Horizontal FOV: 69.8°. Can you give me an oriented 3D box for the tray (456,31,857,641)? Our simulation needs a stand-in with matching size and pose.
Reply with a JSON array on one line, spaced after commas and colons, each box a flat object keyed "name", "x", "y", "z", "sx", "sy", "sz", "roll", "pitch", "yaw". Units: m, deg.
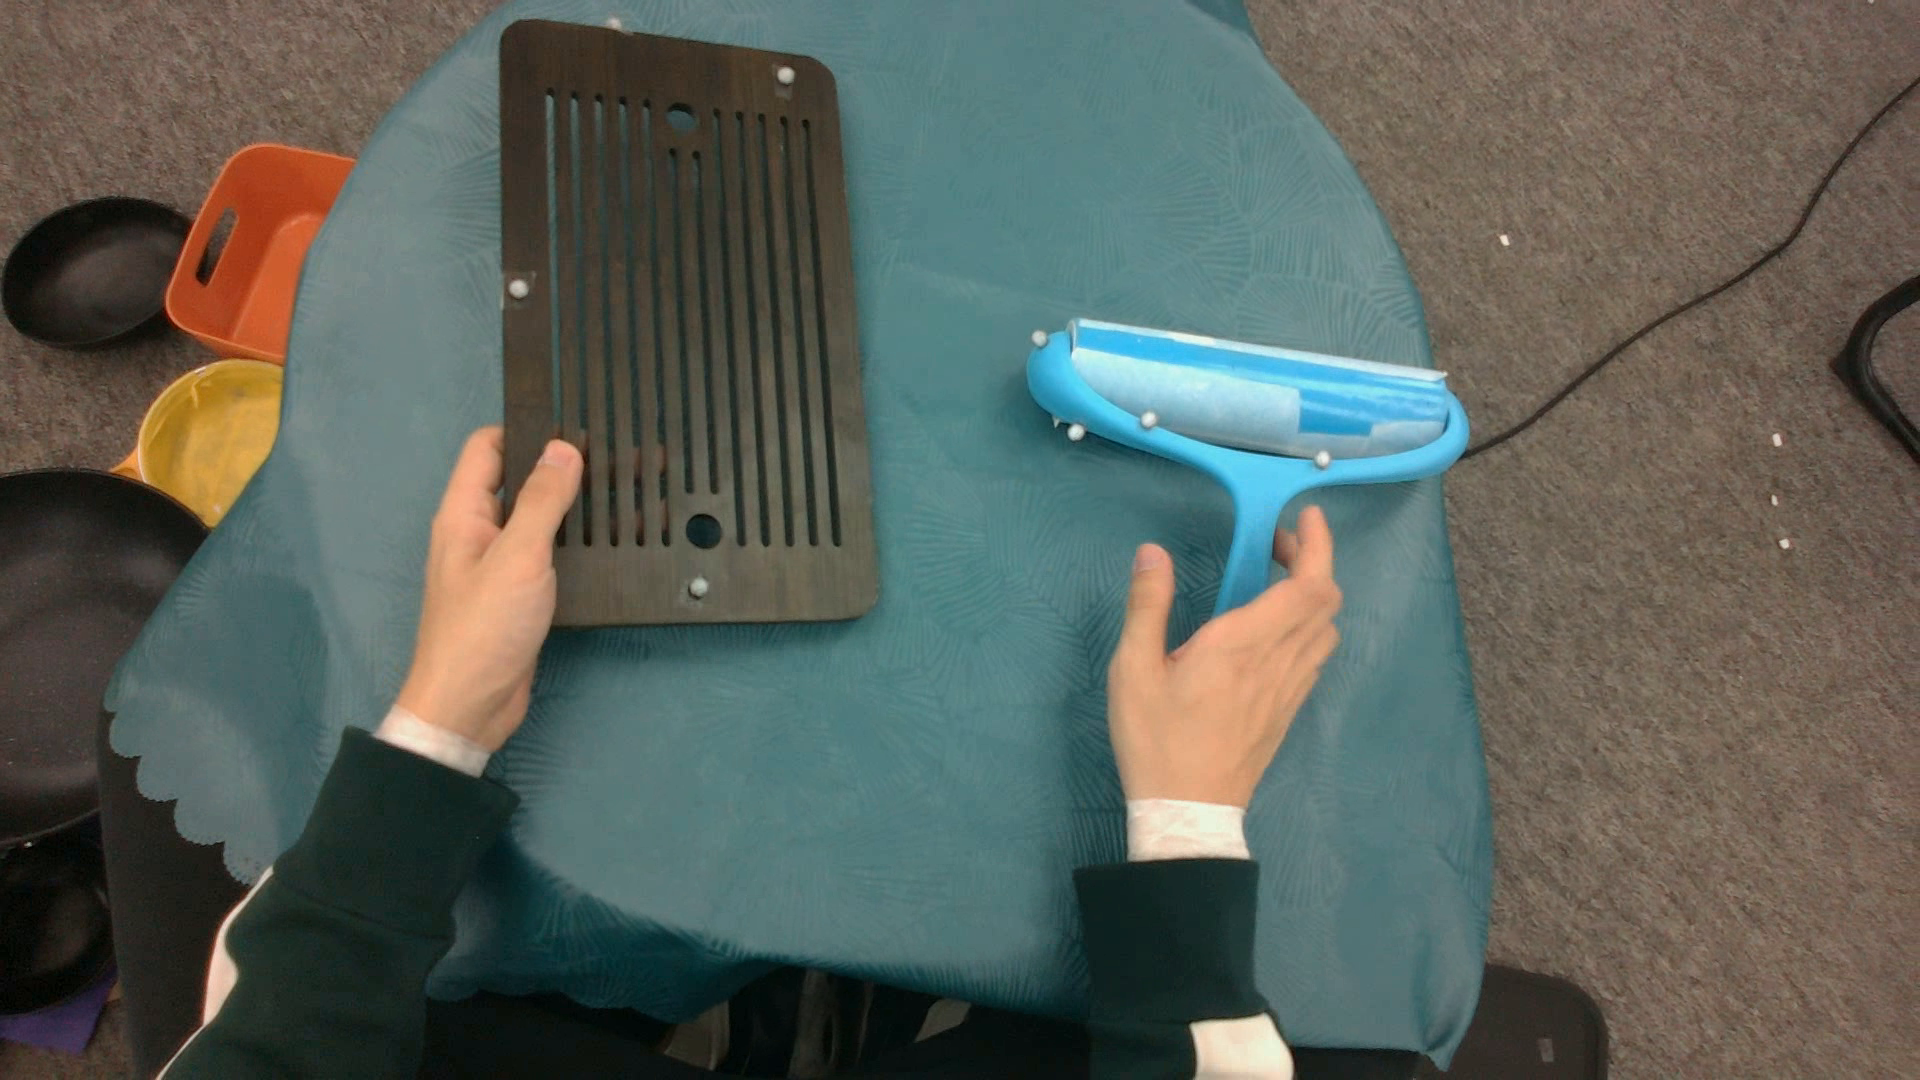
[{"name": "tray", "x": -0.149, "y": -0.104, "z": 0.669, "sx": 0.170, "sy": 0.018, "sz": 0.306, "roll": -2, "pitch": 75, "yaw": -20}]

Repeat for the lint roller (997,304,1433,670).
[{"name": "lint roller", "x": 0.132, "y": -0.029, "z": 0.692, "sx": 0.229, "sy": 0.067, "sz": 0.181, "roll": 4, "pitch": 69, "yaw": -9}]
